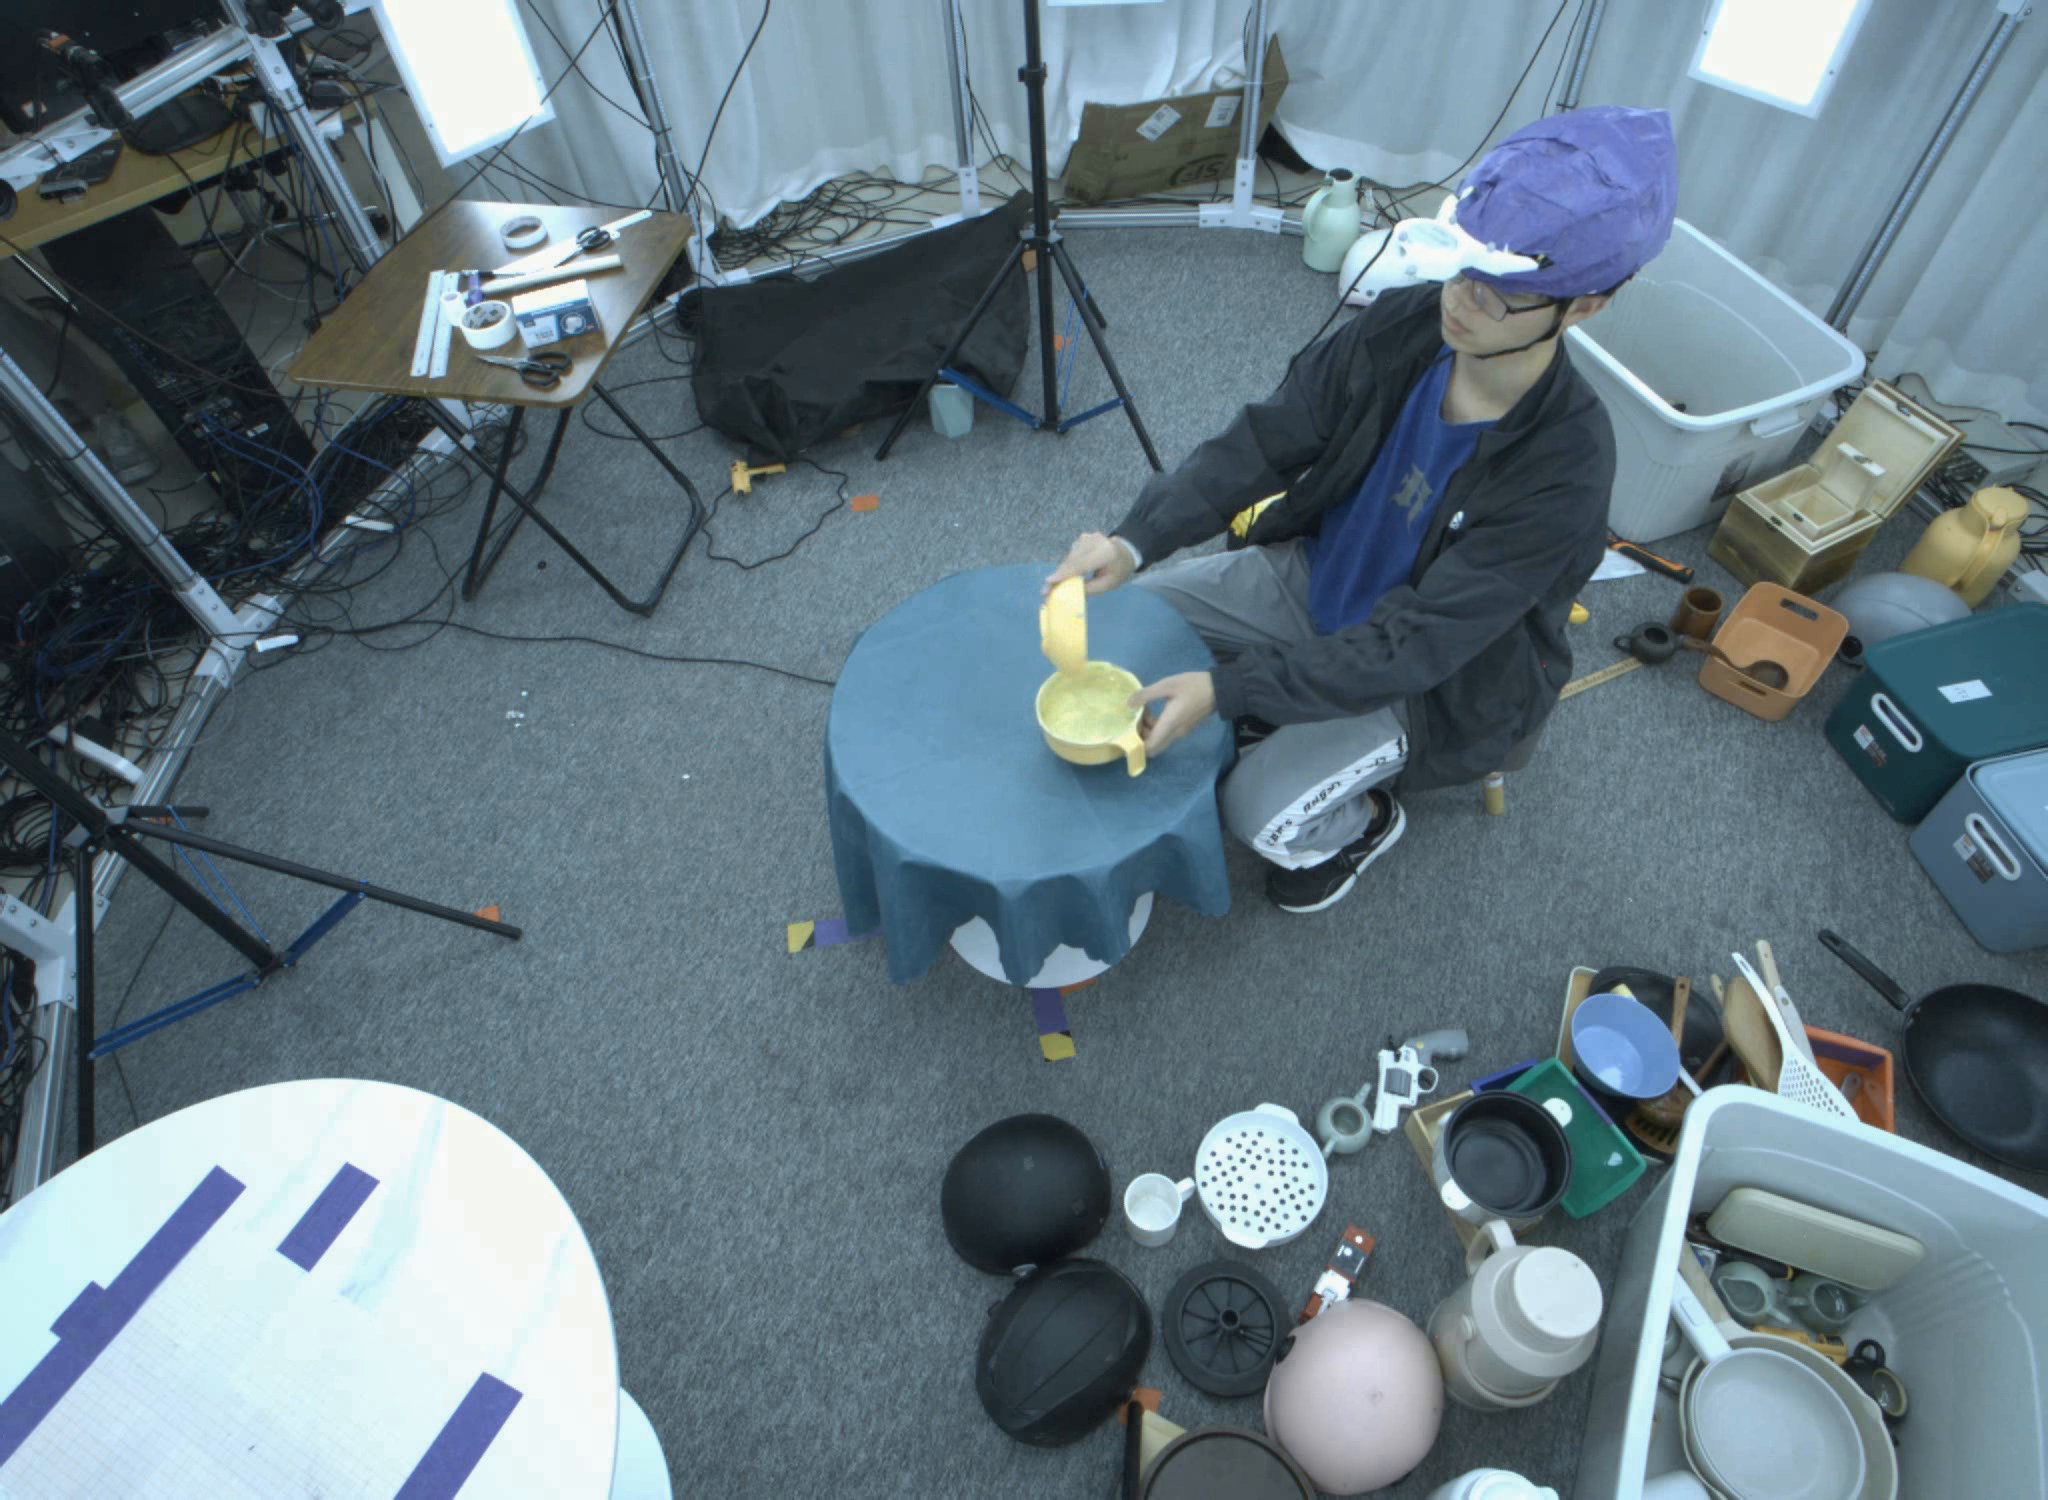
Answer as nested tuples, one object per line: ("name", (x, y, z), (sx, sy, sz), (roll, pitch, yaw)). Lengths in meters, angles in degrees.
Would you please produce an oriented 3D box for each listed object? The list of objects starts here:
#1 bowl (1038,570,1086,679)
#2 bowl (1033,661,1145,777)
("bowl", (0.051, -0.167, 1.645), (0.060, 0.147, 0.144), (-1, 55, 5))
("bowl", (0.100, -0.037, 1.721), (0.154, 0.075, 0.175), (-36, 56, -20))
